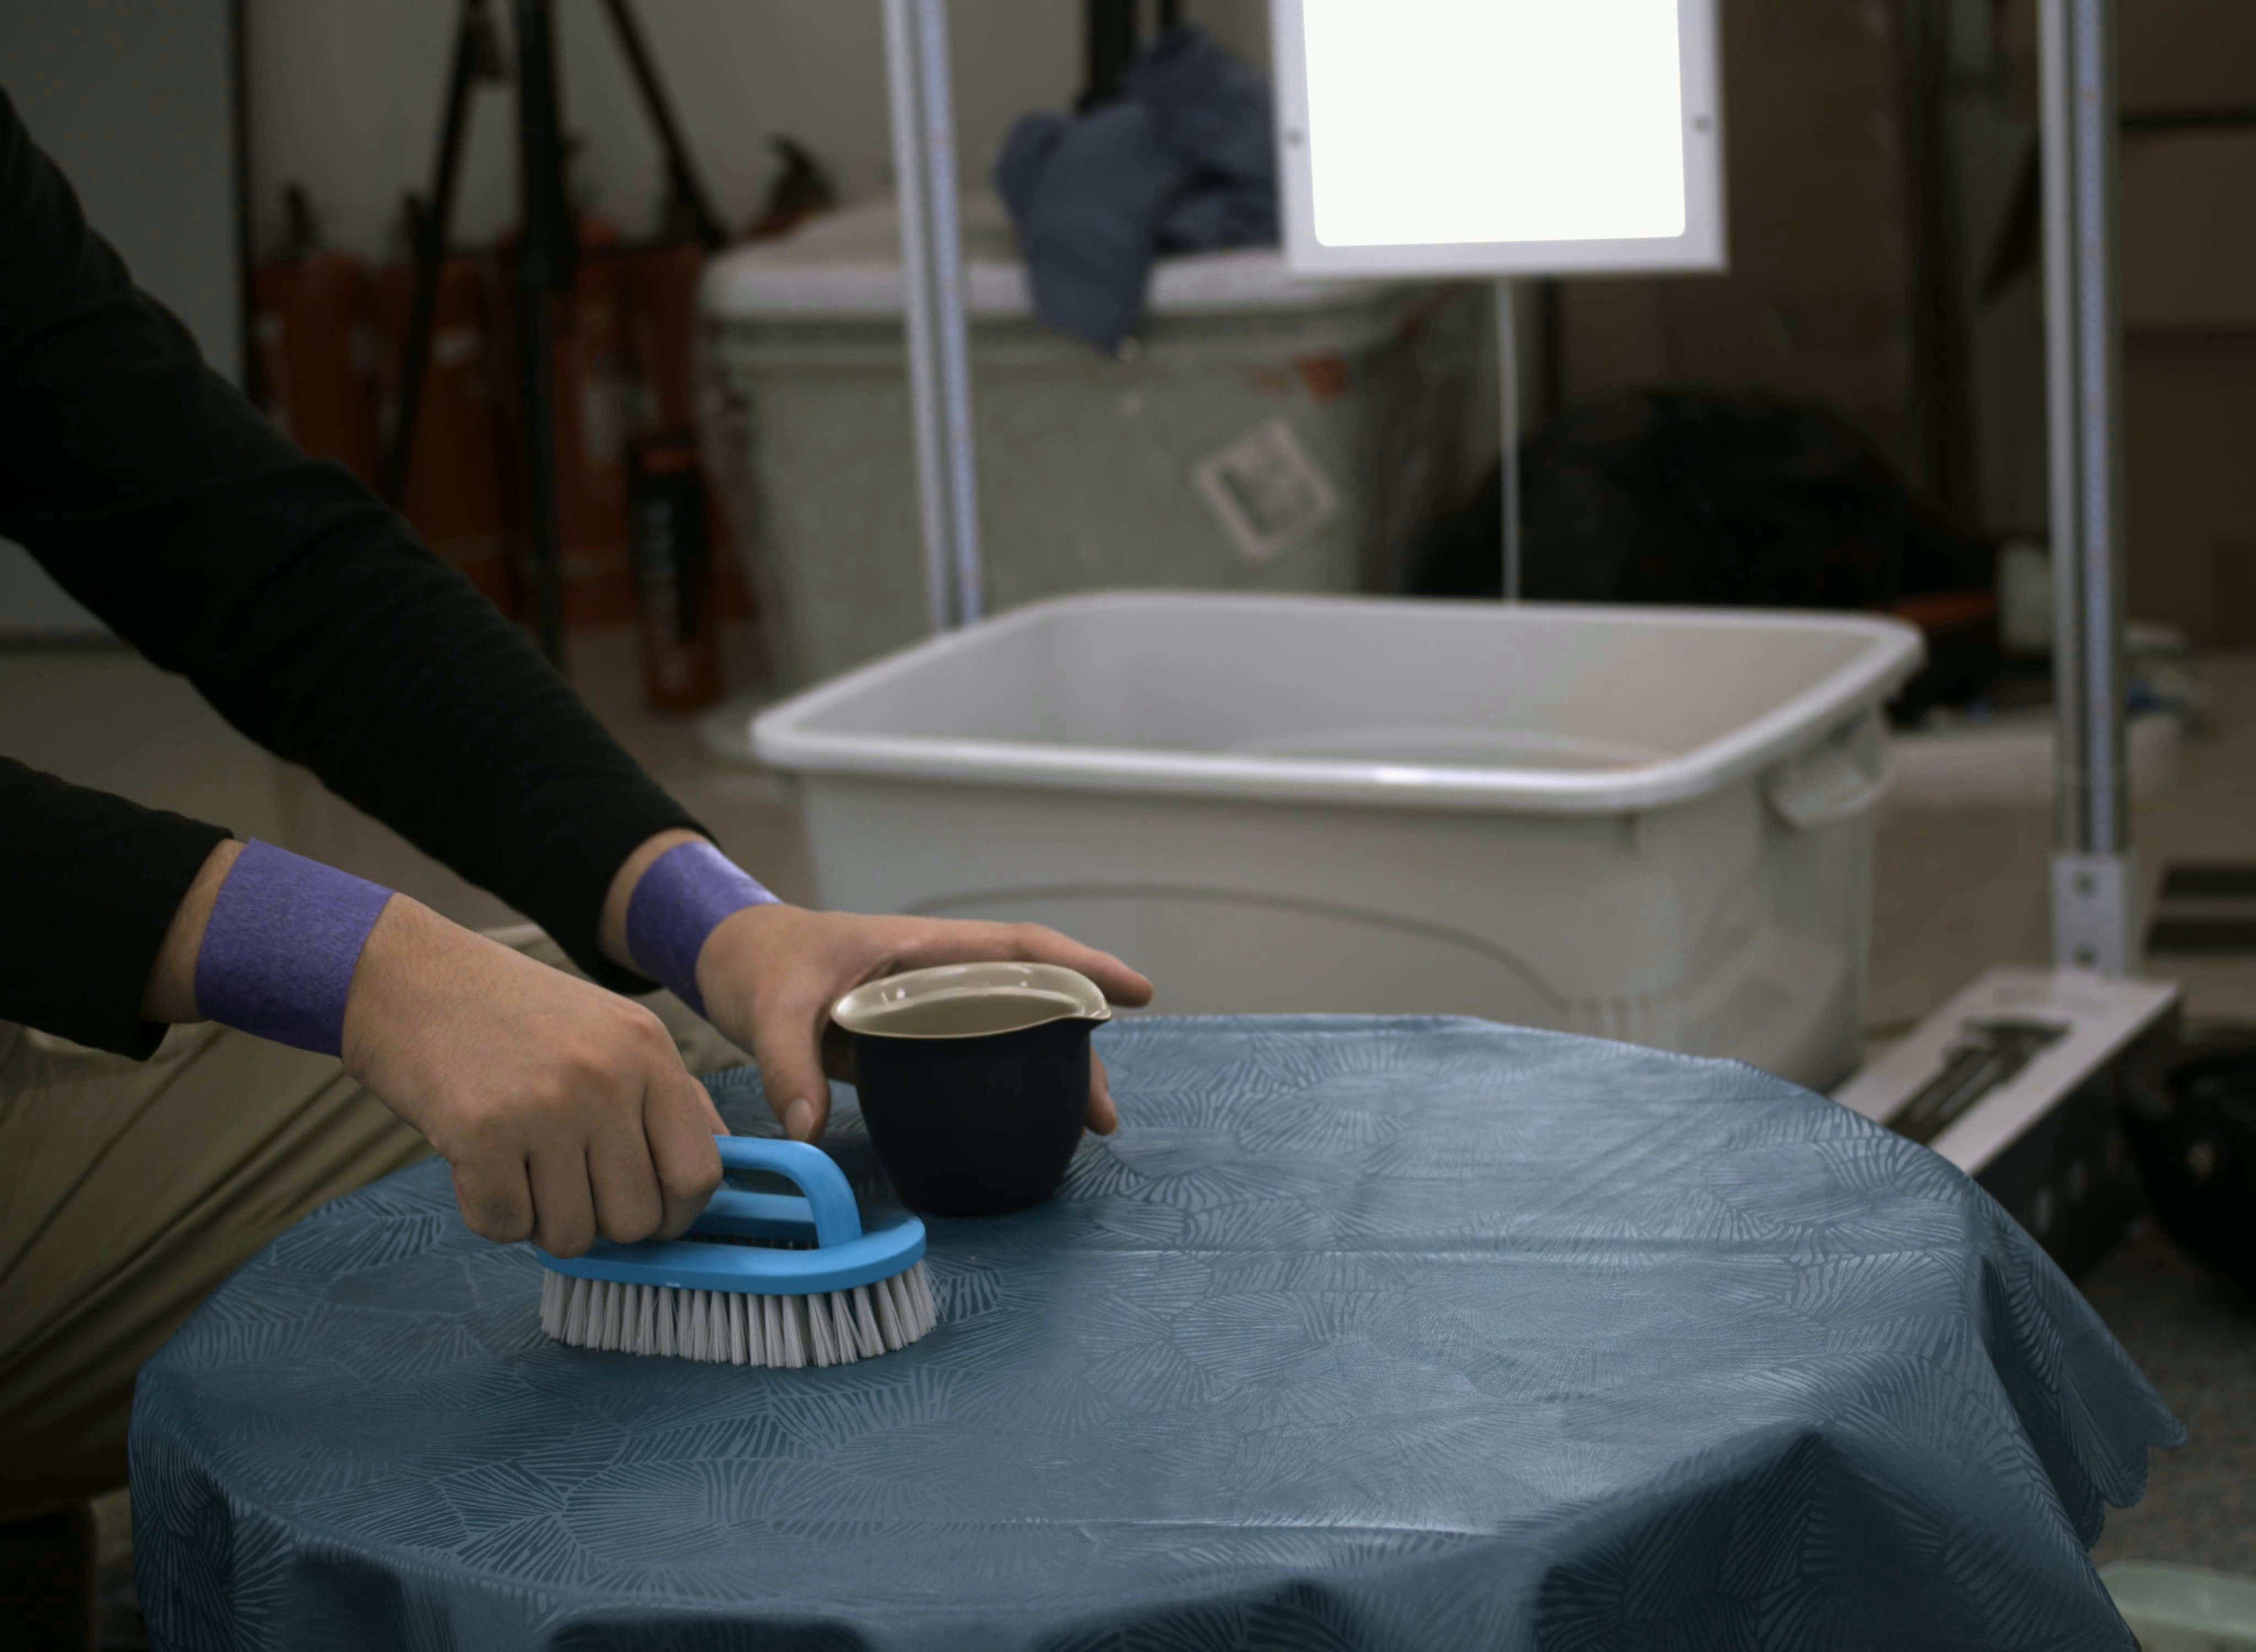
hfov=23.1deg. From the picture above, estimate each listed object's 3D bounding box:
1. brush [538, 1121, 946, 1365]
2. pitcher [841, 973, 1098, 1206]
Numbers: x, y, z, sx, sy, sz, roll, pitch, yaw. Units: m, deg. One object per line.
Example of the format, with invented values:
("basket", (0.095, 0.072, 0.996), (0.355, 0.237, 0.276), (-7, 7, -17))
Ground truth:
("brush", (-0.130, 0.129, 1.795), (0.144, 0.064, 0.082), (2, 20, 30))
("pitcher", (-0.051, 0.091, 1.903), (0.098, 0.071, 0.081), (6, 16, 33))
